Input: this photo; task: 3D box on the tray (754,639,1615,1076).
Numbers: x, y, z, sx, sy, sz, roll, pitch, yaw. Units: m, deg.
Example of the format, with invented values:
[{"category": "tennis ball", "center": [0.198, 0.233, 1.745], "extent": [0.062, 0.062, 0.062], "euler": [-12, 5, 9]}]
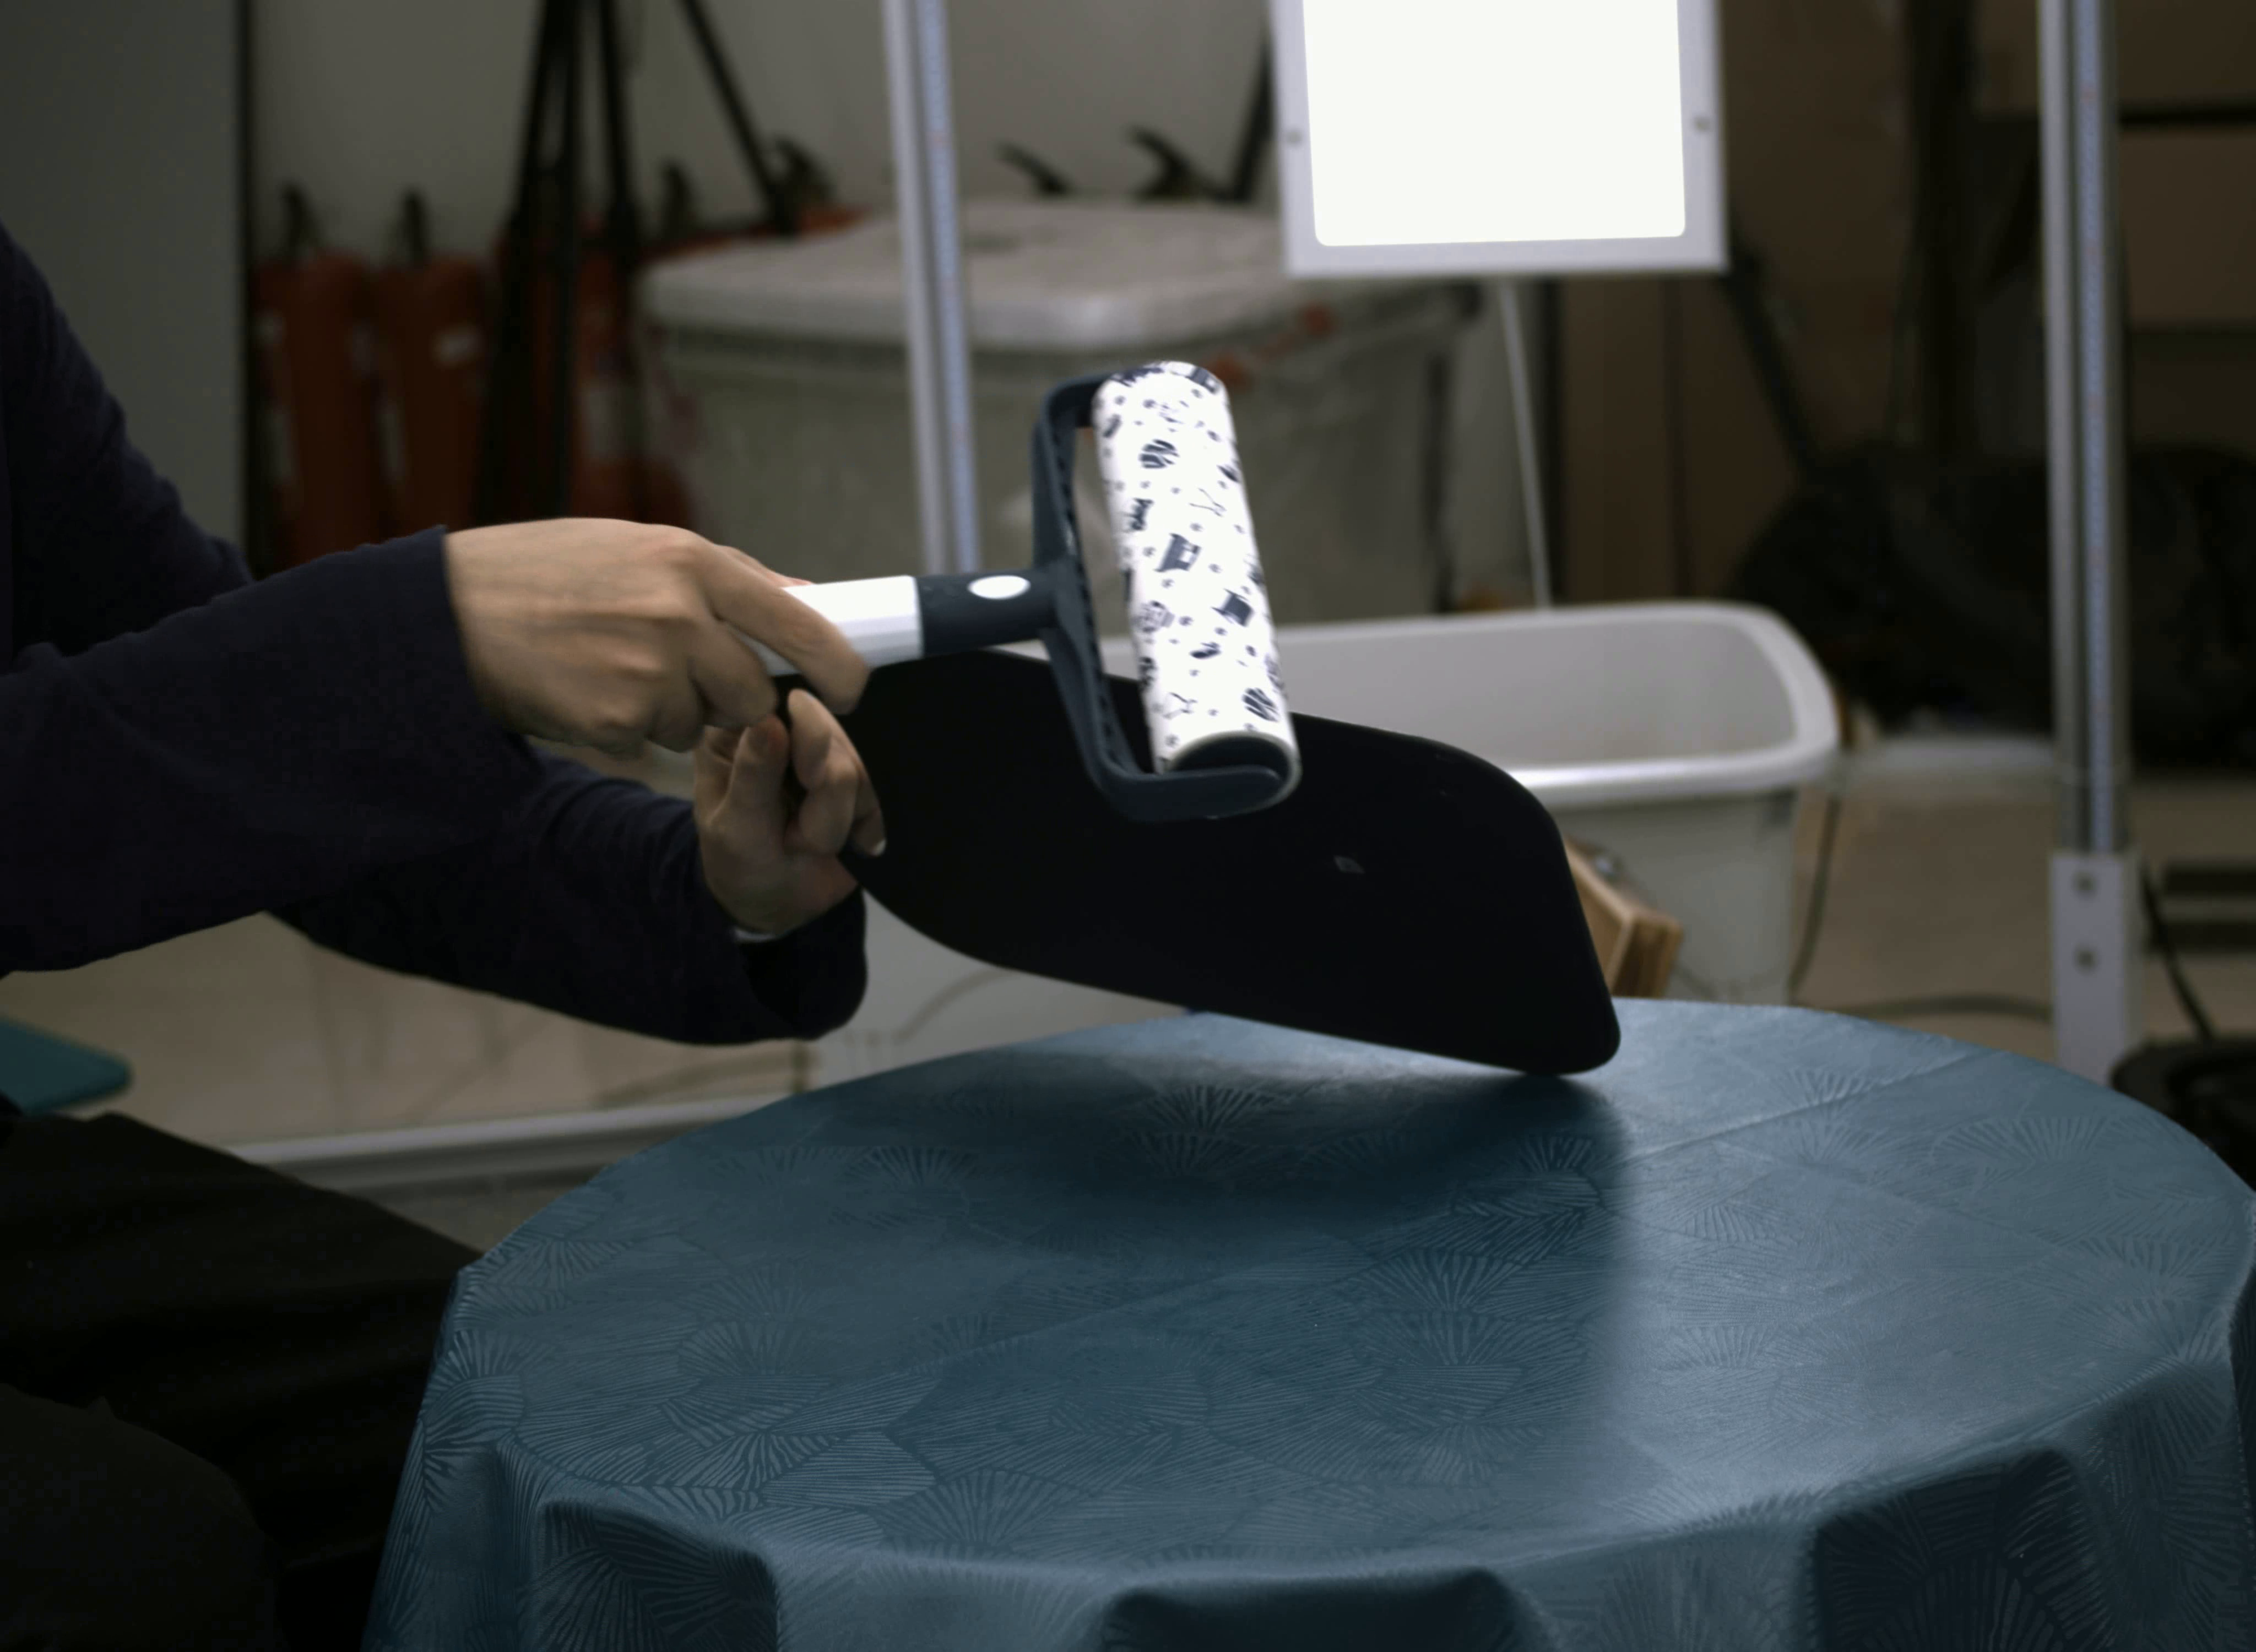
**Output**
[{"category": "tray", "center": [0.014, 0.005, 1.971], "extent": [0.331, 0.210, 0.009], "euler": [12, 58, 27]}]

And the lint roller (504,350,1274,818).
[{"category": "lint roller", "center": [-0.084, -0.069, 1.814], "extent": [0.246, 0.050, 0.176], "euler": [-8, 55, -2]}]
